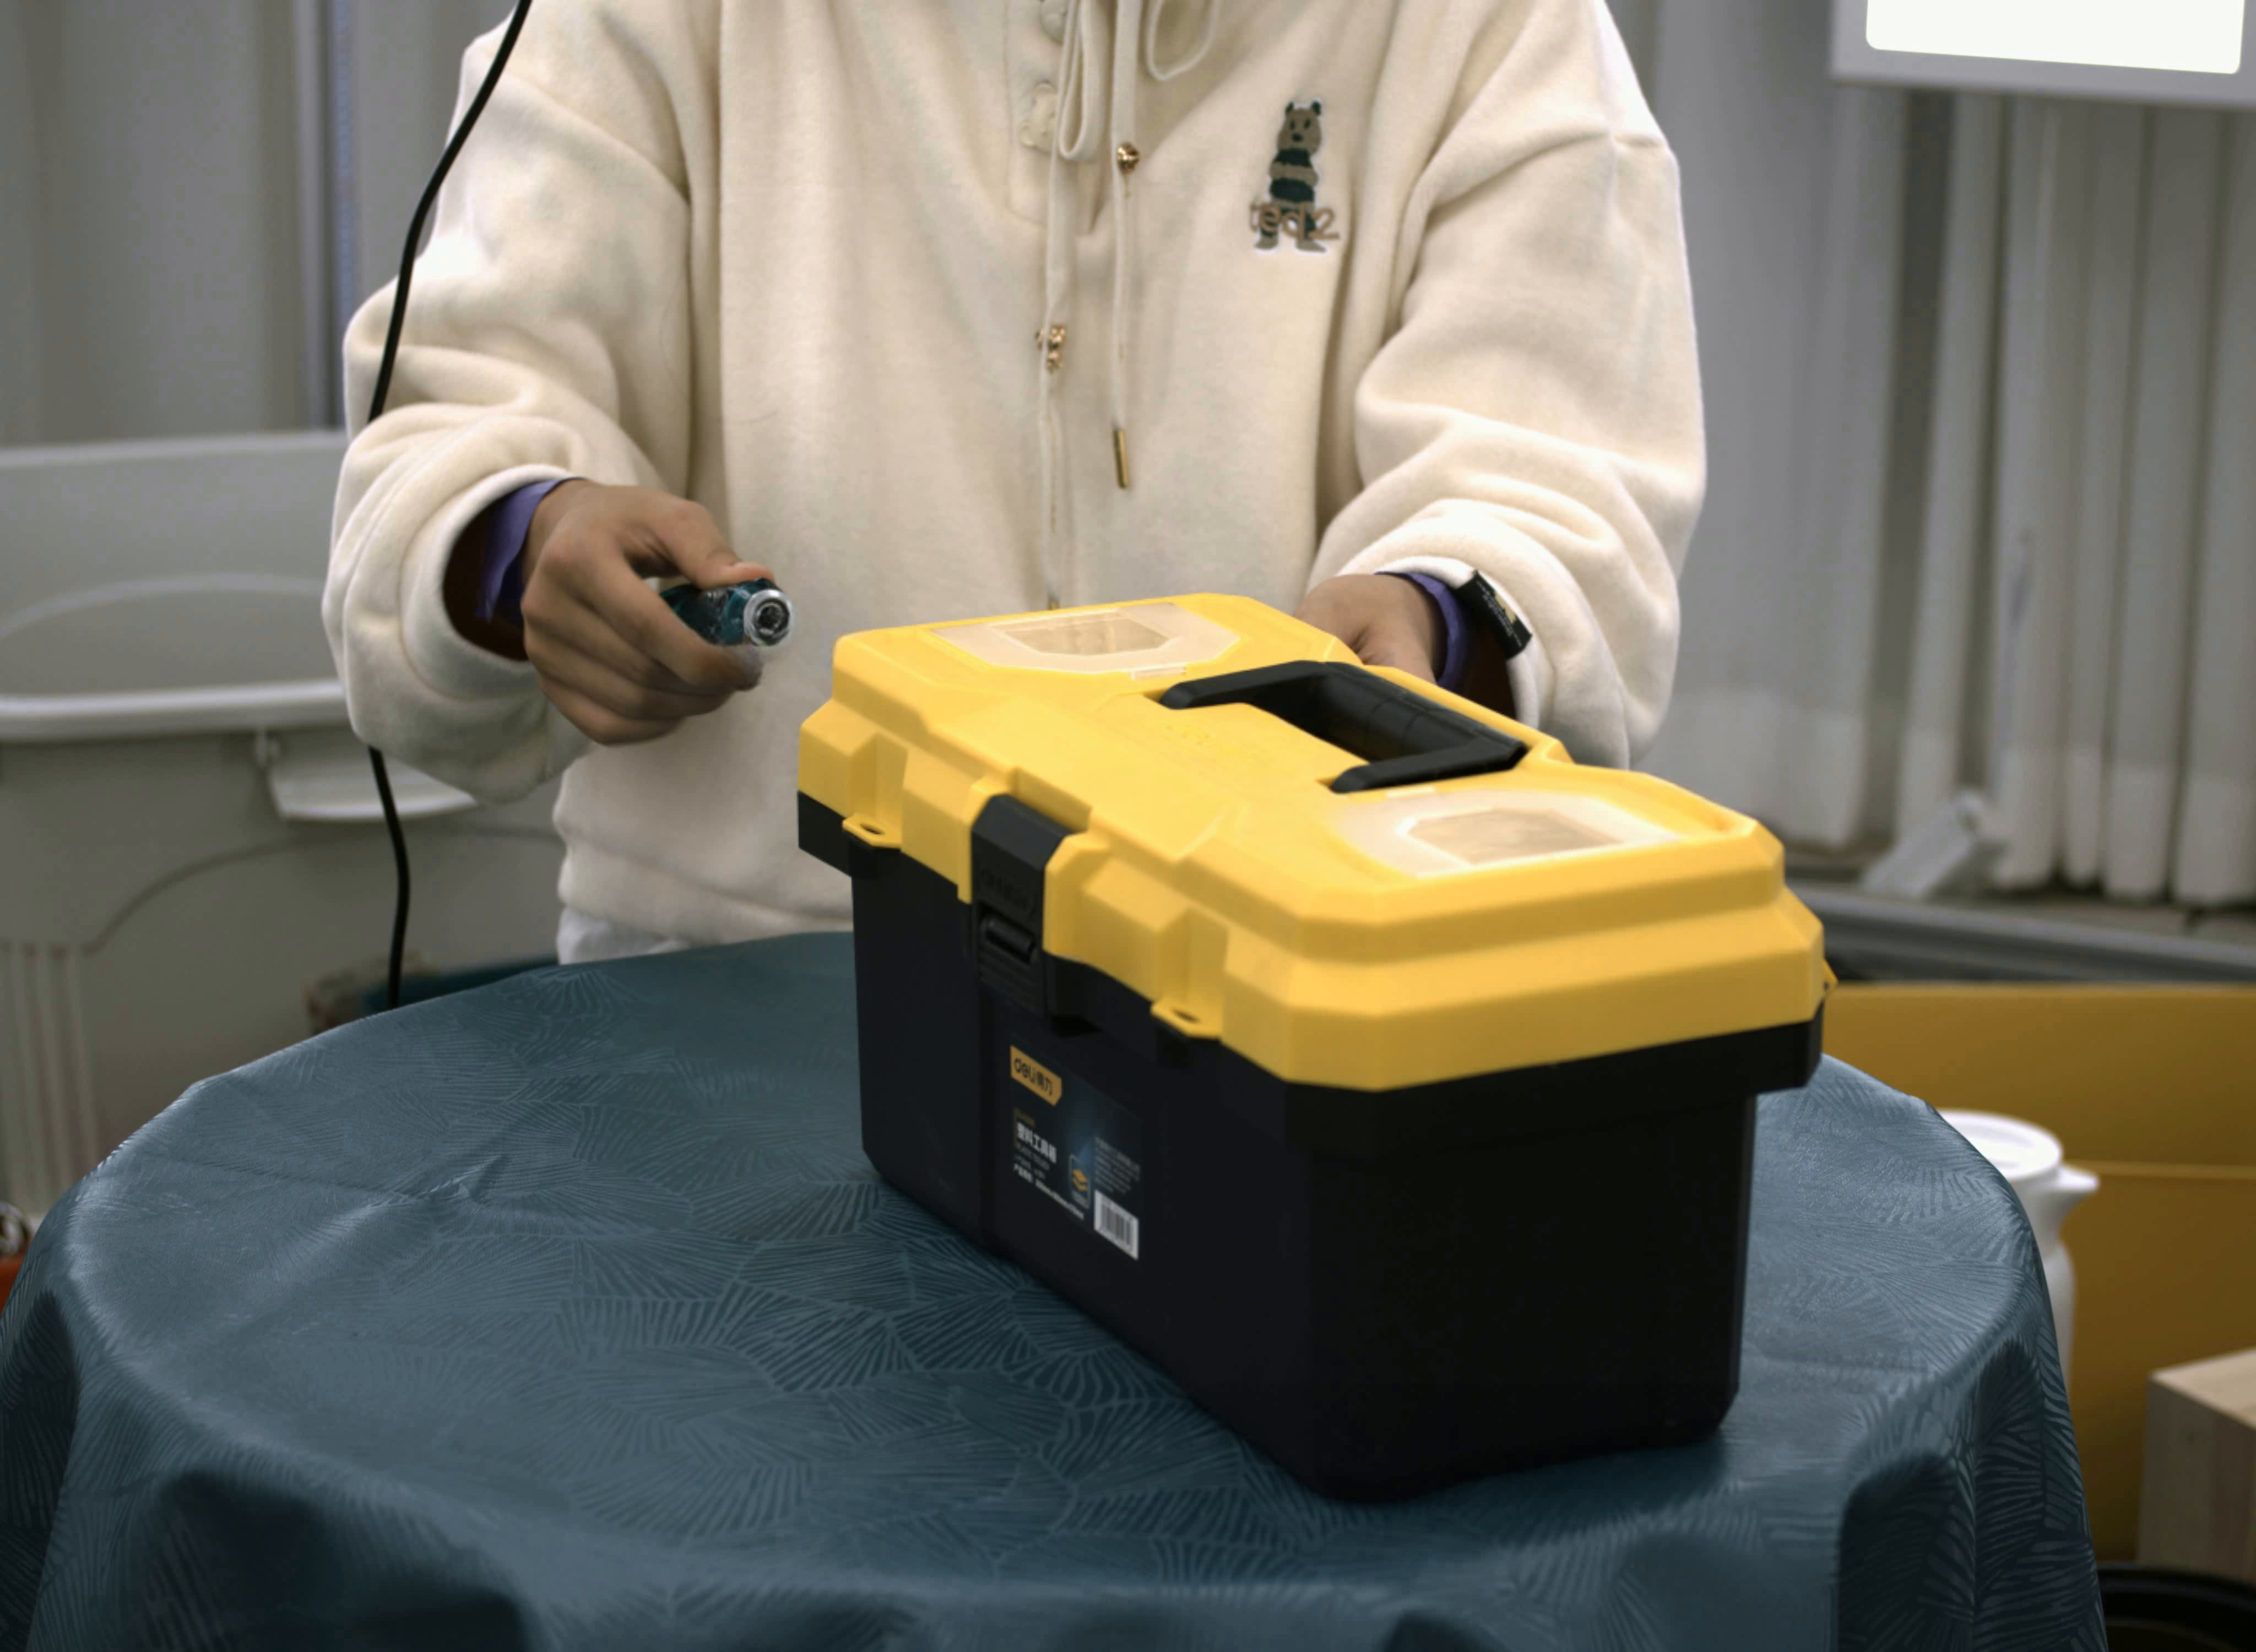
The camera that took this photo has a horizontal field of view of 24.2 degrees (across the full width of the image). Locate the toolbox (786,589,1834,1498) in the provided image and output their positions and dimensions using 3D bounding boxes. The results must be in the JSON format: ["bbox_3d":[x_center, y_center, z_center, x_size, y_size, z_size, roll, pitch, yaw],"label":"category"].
[{"bbox_3d":[0.043,0.053,1.512,0.182,0.174,0.347,-7,17,-26],"label":"toolbox"}]

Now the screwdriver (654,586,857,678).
[{"bbox_3d":[-0.117,-0.064,1.704,0.034,0.034,0.188,-5,3,-20],"label":"screwdriver"}]
